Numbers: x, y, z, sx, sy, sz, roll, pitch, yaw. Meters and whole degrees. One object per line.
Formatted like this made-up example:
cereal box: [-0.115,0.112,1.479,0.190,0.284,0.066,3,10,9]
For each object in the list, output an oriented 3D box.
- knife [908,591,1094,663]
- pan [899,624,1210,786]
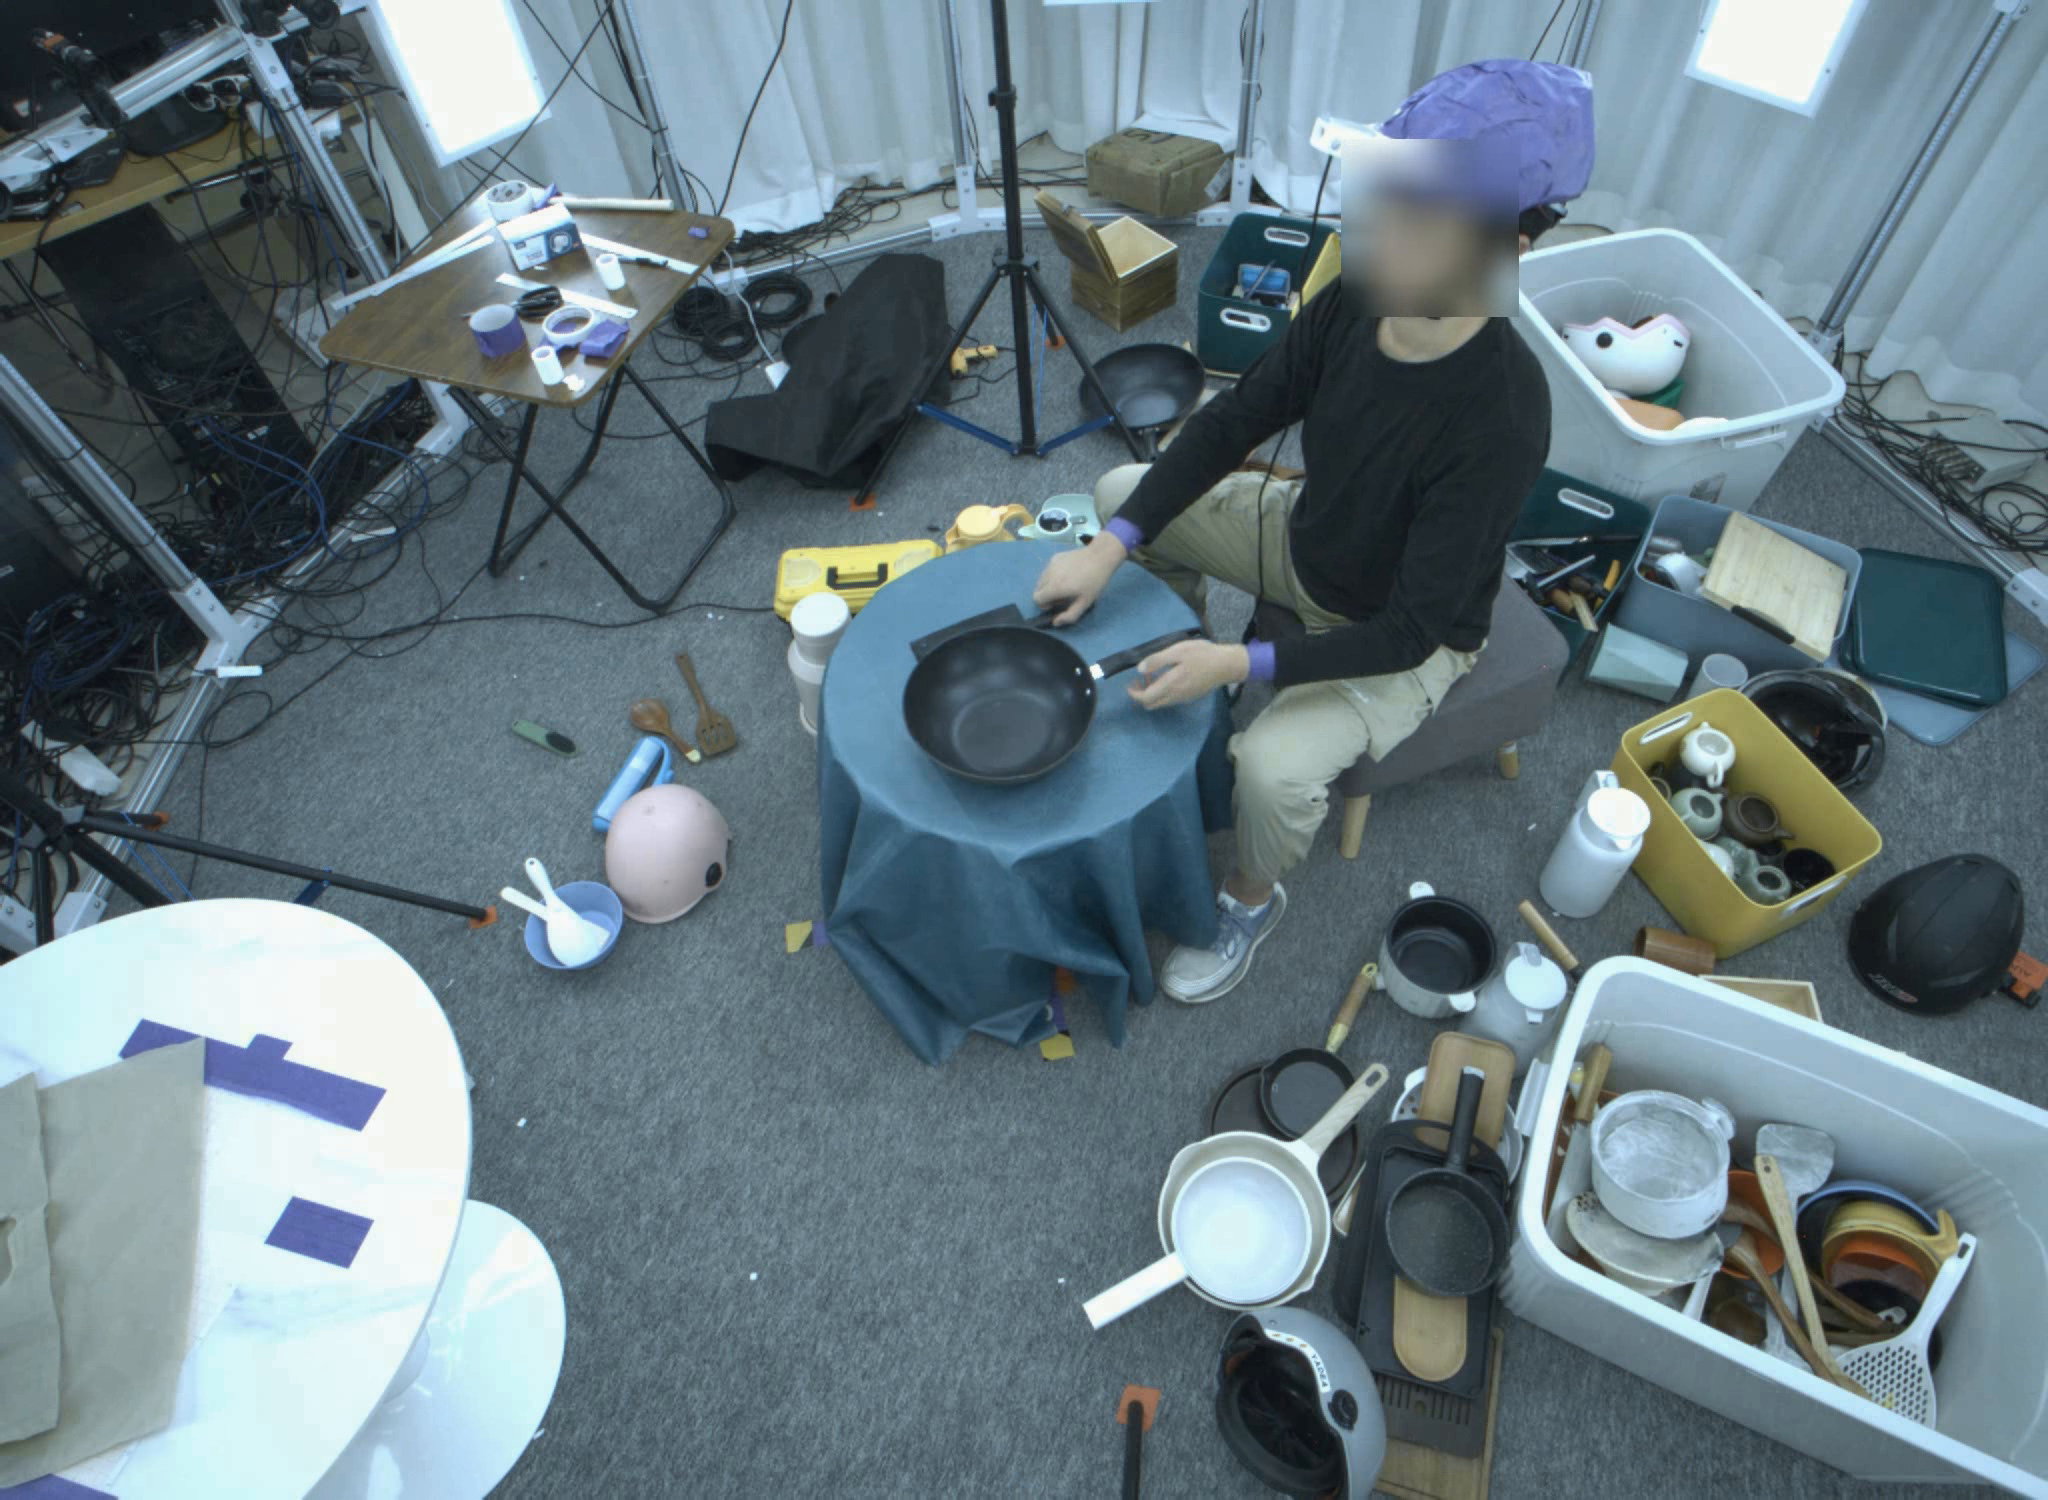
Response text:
knife: [-0.032,-0.196,1.916,0.304,0.021,0.079,-17,56,-8]
pan: [0.049,-0.080,1.788,0.466,0.088,0.283,-18,56,-11]
